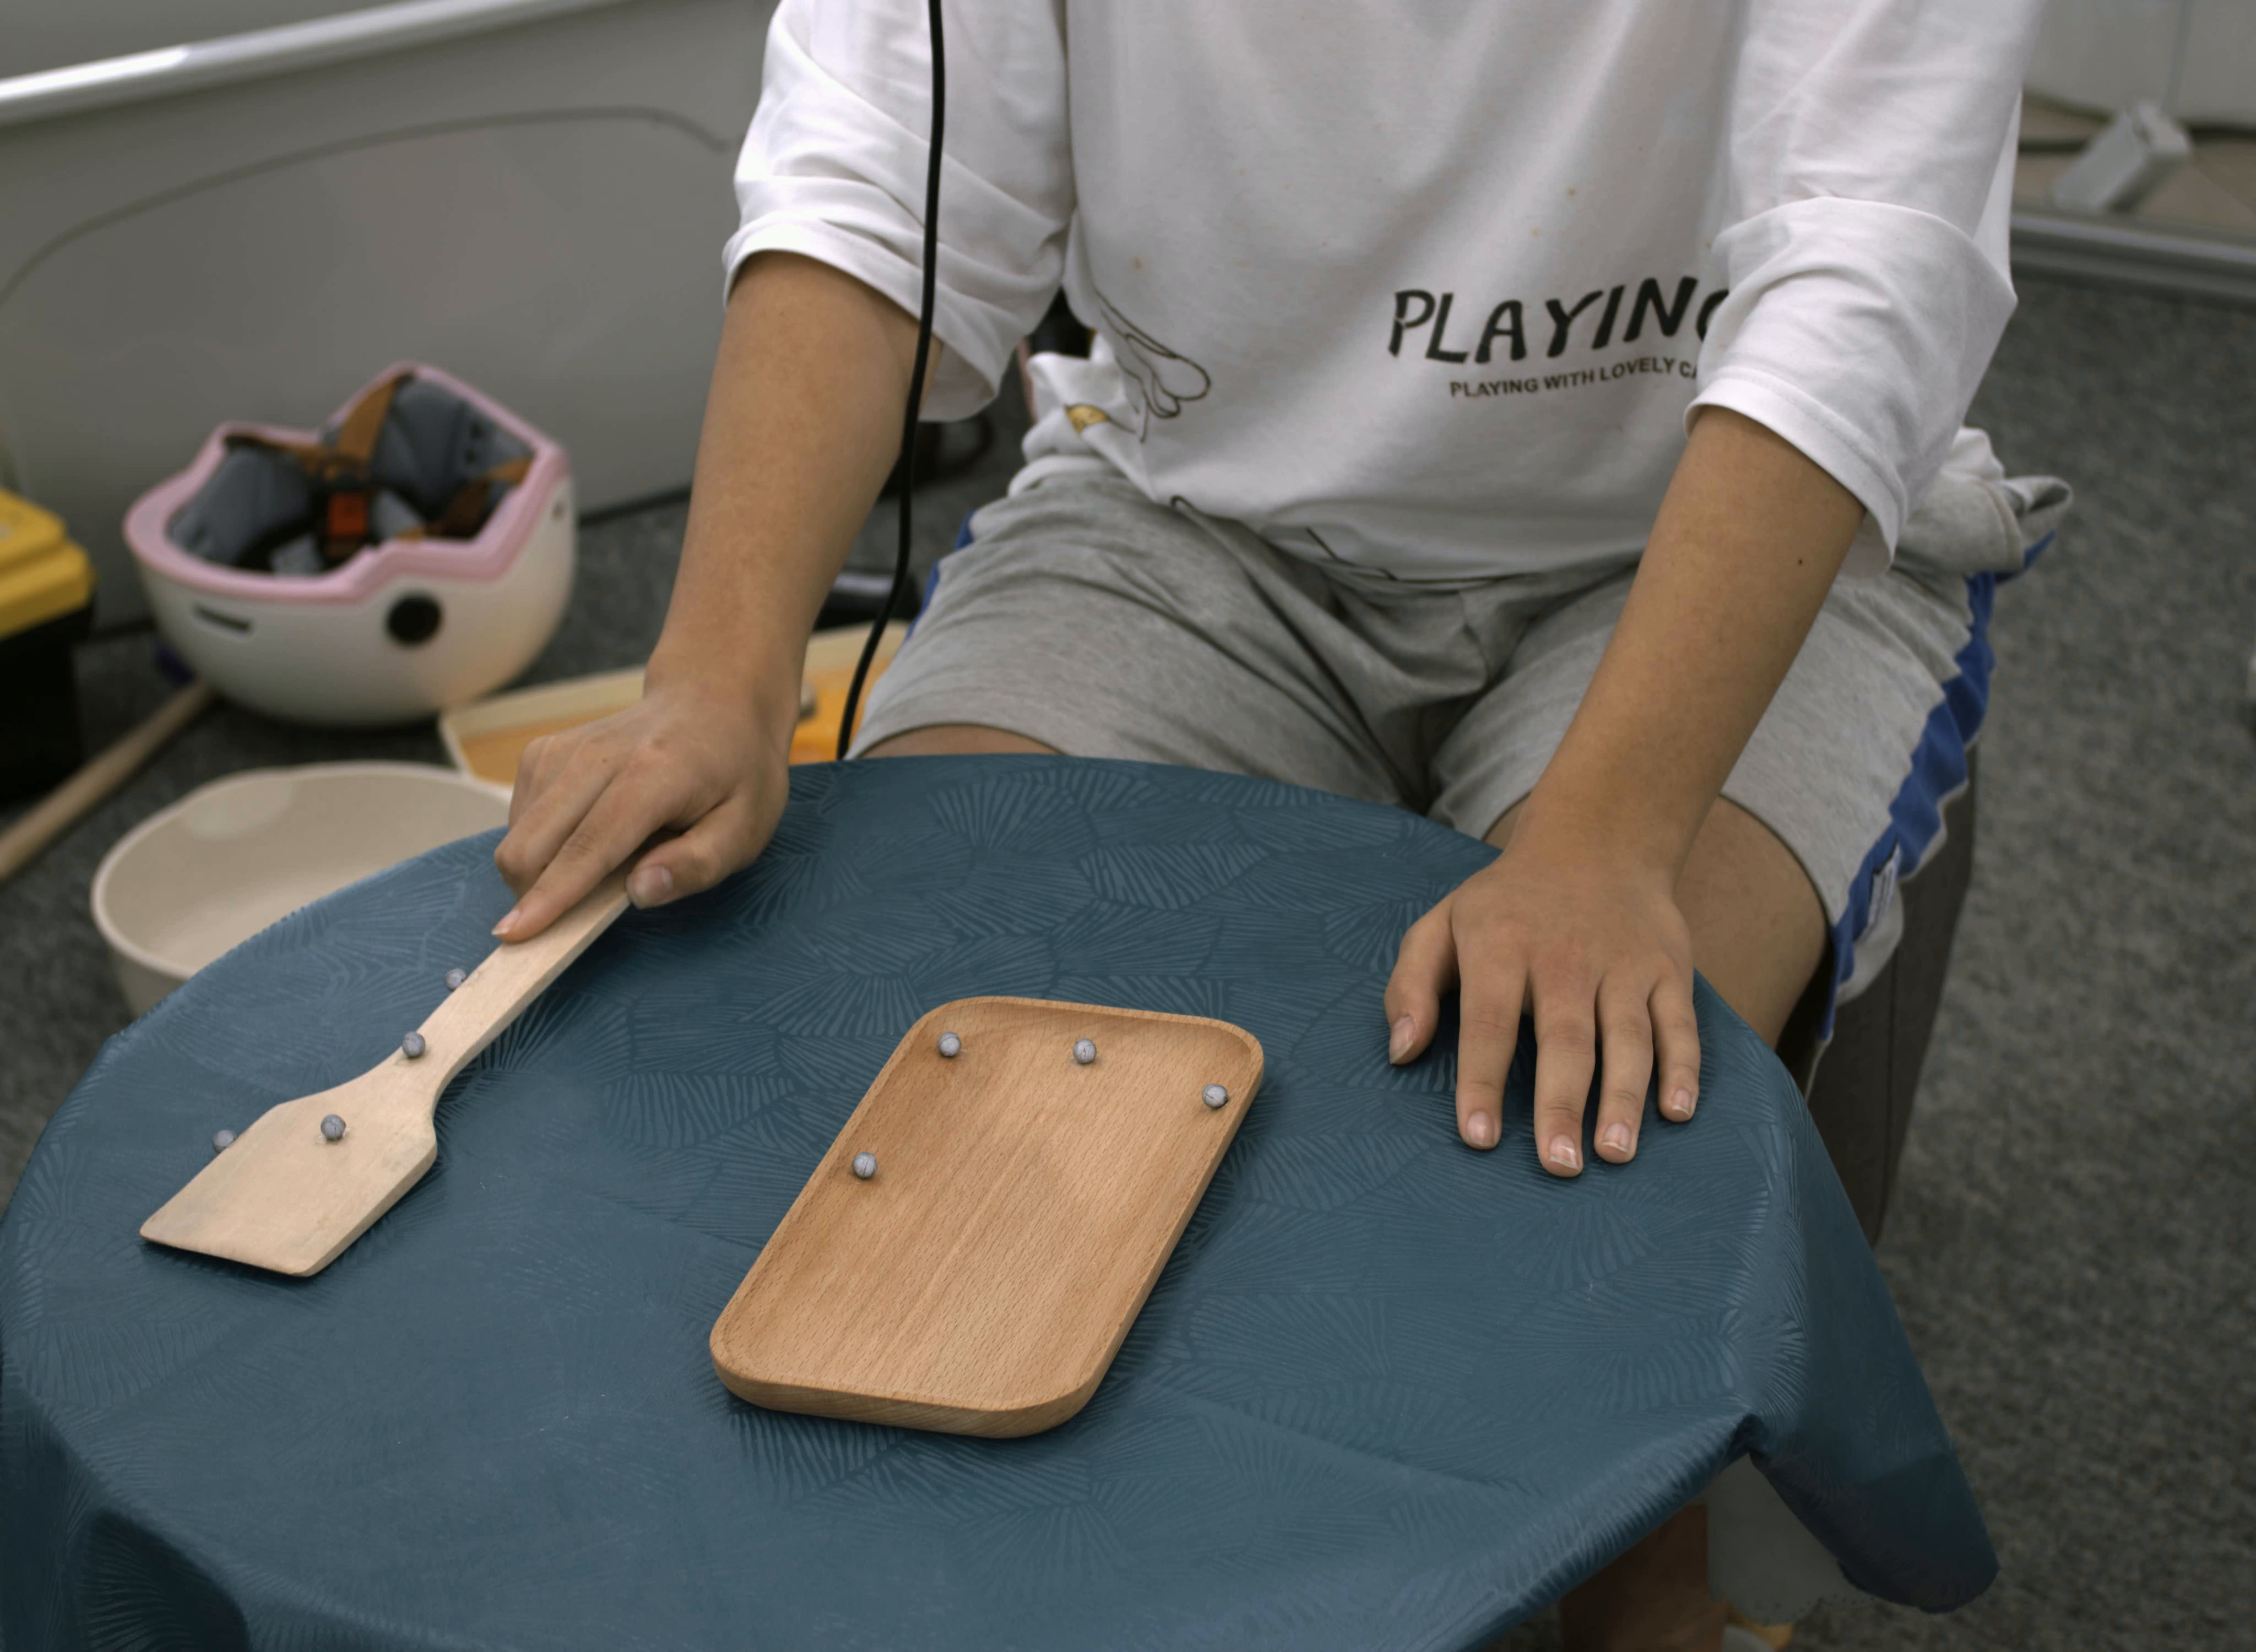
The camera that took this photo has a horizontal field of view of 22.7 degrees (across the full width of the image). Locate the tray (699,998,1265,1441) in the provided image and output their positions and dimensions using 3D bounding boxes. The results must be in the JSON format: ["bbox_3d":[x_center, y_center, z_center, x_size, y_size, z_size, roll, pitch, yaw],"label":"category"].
[{"bbox_3d":[-0.044,0.126,1.842,0.129,0.022,0.255,4,28,18],"label":"tray"}]

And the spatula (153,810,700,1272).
[{"bbox_3d":[-0.231,0.070,1.956,0.072,0.010,0.298,9,34,25],"label":"spatula"}]
